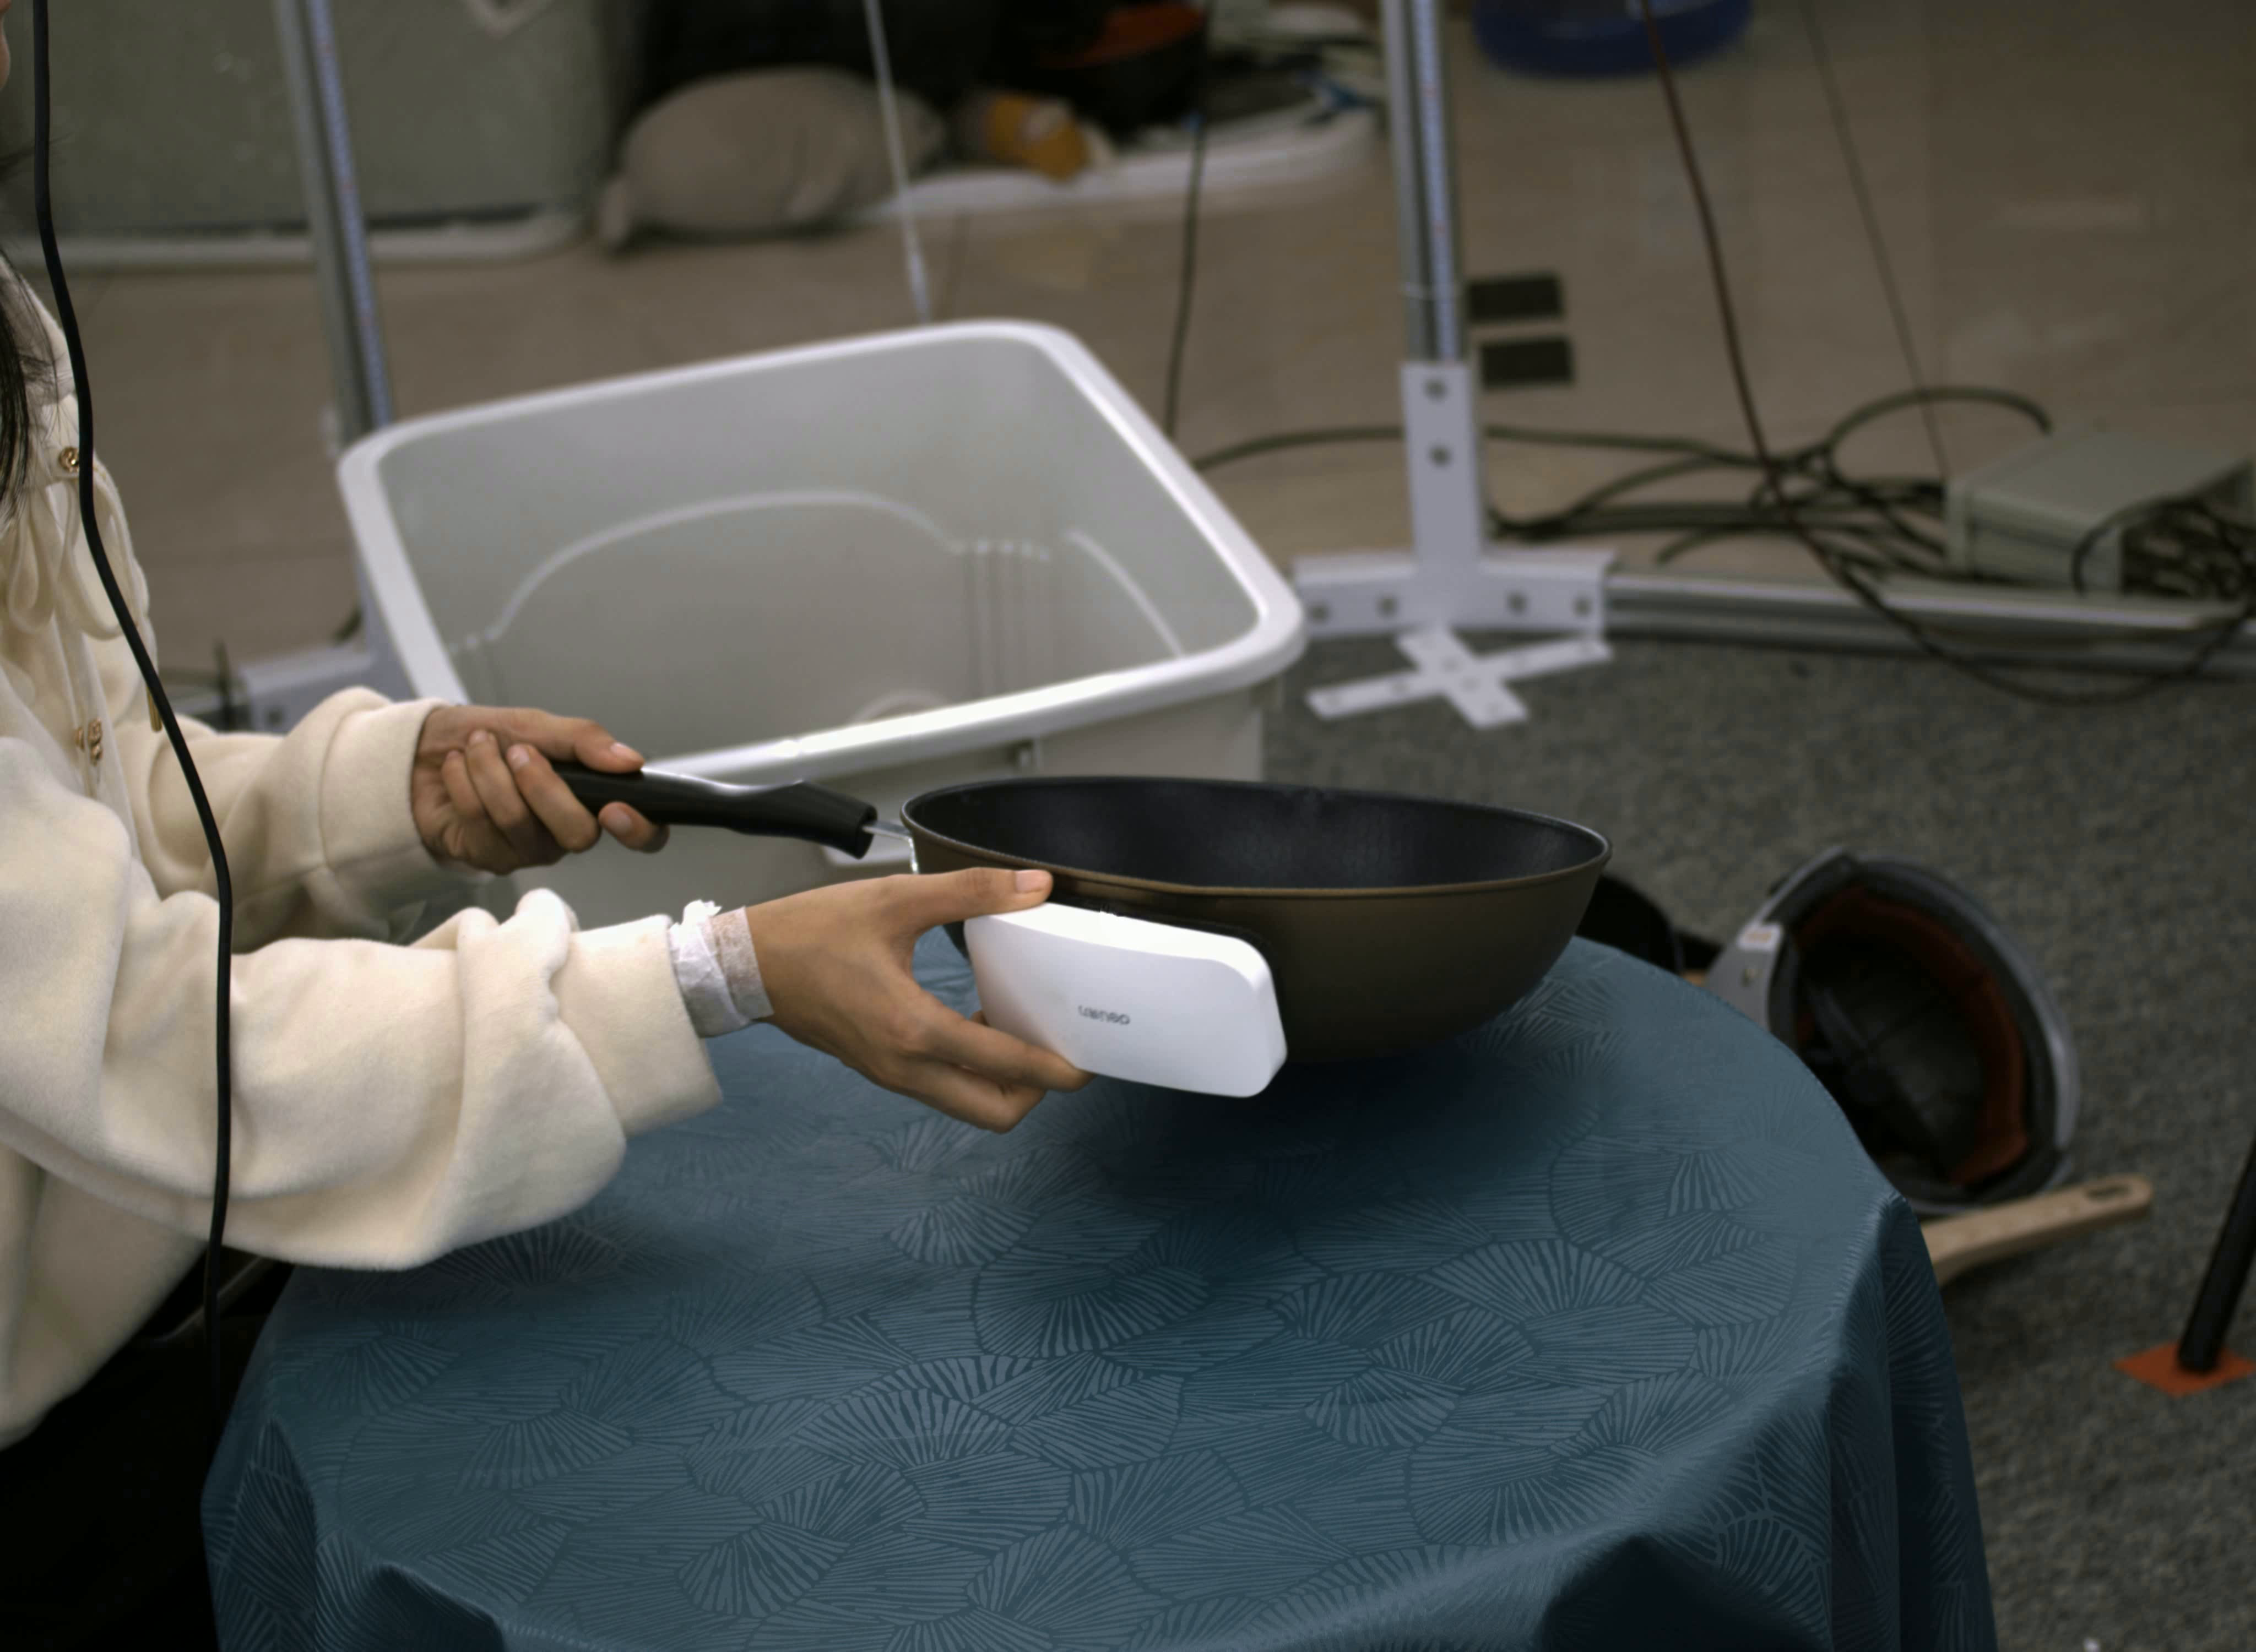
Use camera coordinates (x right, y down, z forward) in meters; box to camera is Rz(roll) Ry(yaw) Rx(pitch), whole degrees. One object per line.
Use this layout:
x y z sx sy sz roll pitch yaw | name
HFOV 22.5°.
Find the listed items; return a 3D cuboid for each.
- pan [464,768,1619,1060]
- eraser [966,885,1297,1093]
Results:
-0.040 0.032 2.219 0.462 0.087 0.287 4 8 11 | pan
-0.001 0.058 2.068 0.130 0.064 0.034 10 34 34 | eraser
